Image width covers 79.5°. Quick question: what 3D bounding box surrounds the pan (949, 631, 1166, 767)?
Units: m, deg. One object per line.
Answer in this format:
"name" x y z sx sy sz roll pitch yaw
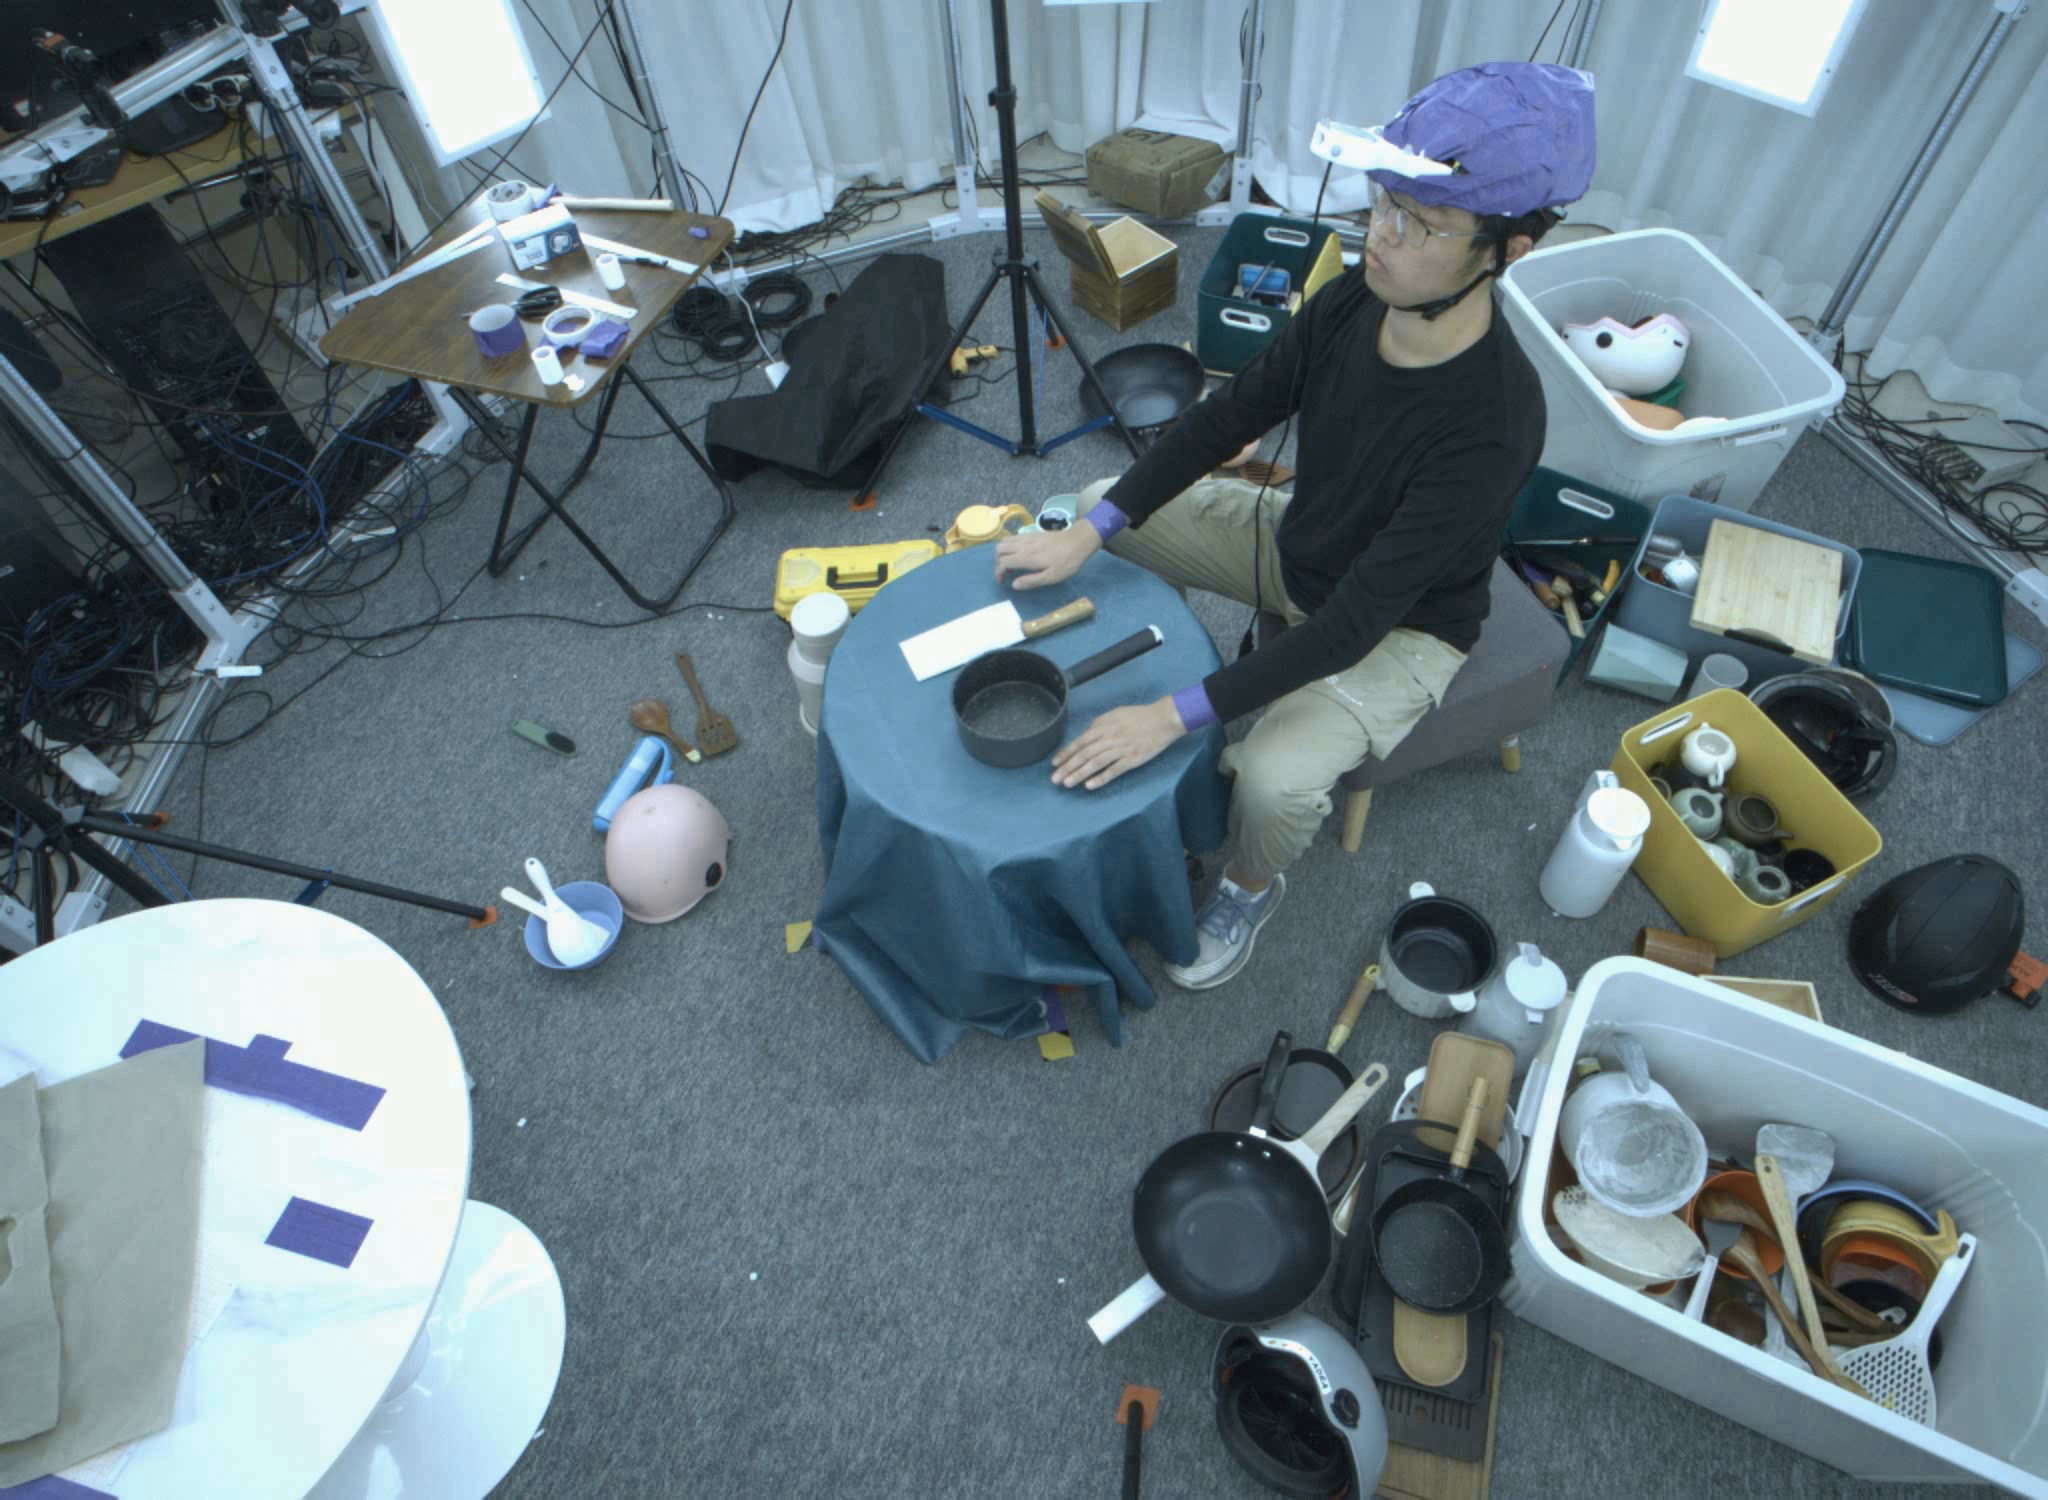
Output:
"pan" 0.053 -0.089 1.795 0.331 0.087 0.169 -20 56 -11

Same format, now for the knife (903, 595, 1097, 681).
"knife" -0.040 -0.191 1.912 0.307 0.021 0.091 -22 55 -11
